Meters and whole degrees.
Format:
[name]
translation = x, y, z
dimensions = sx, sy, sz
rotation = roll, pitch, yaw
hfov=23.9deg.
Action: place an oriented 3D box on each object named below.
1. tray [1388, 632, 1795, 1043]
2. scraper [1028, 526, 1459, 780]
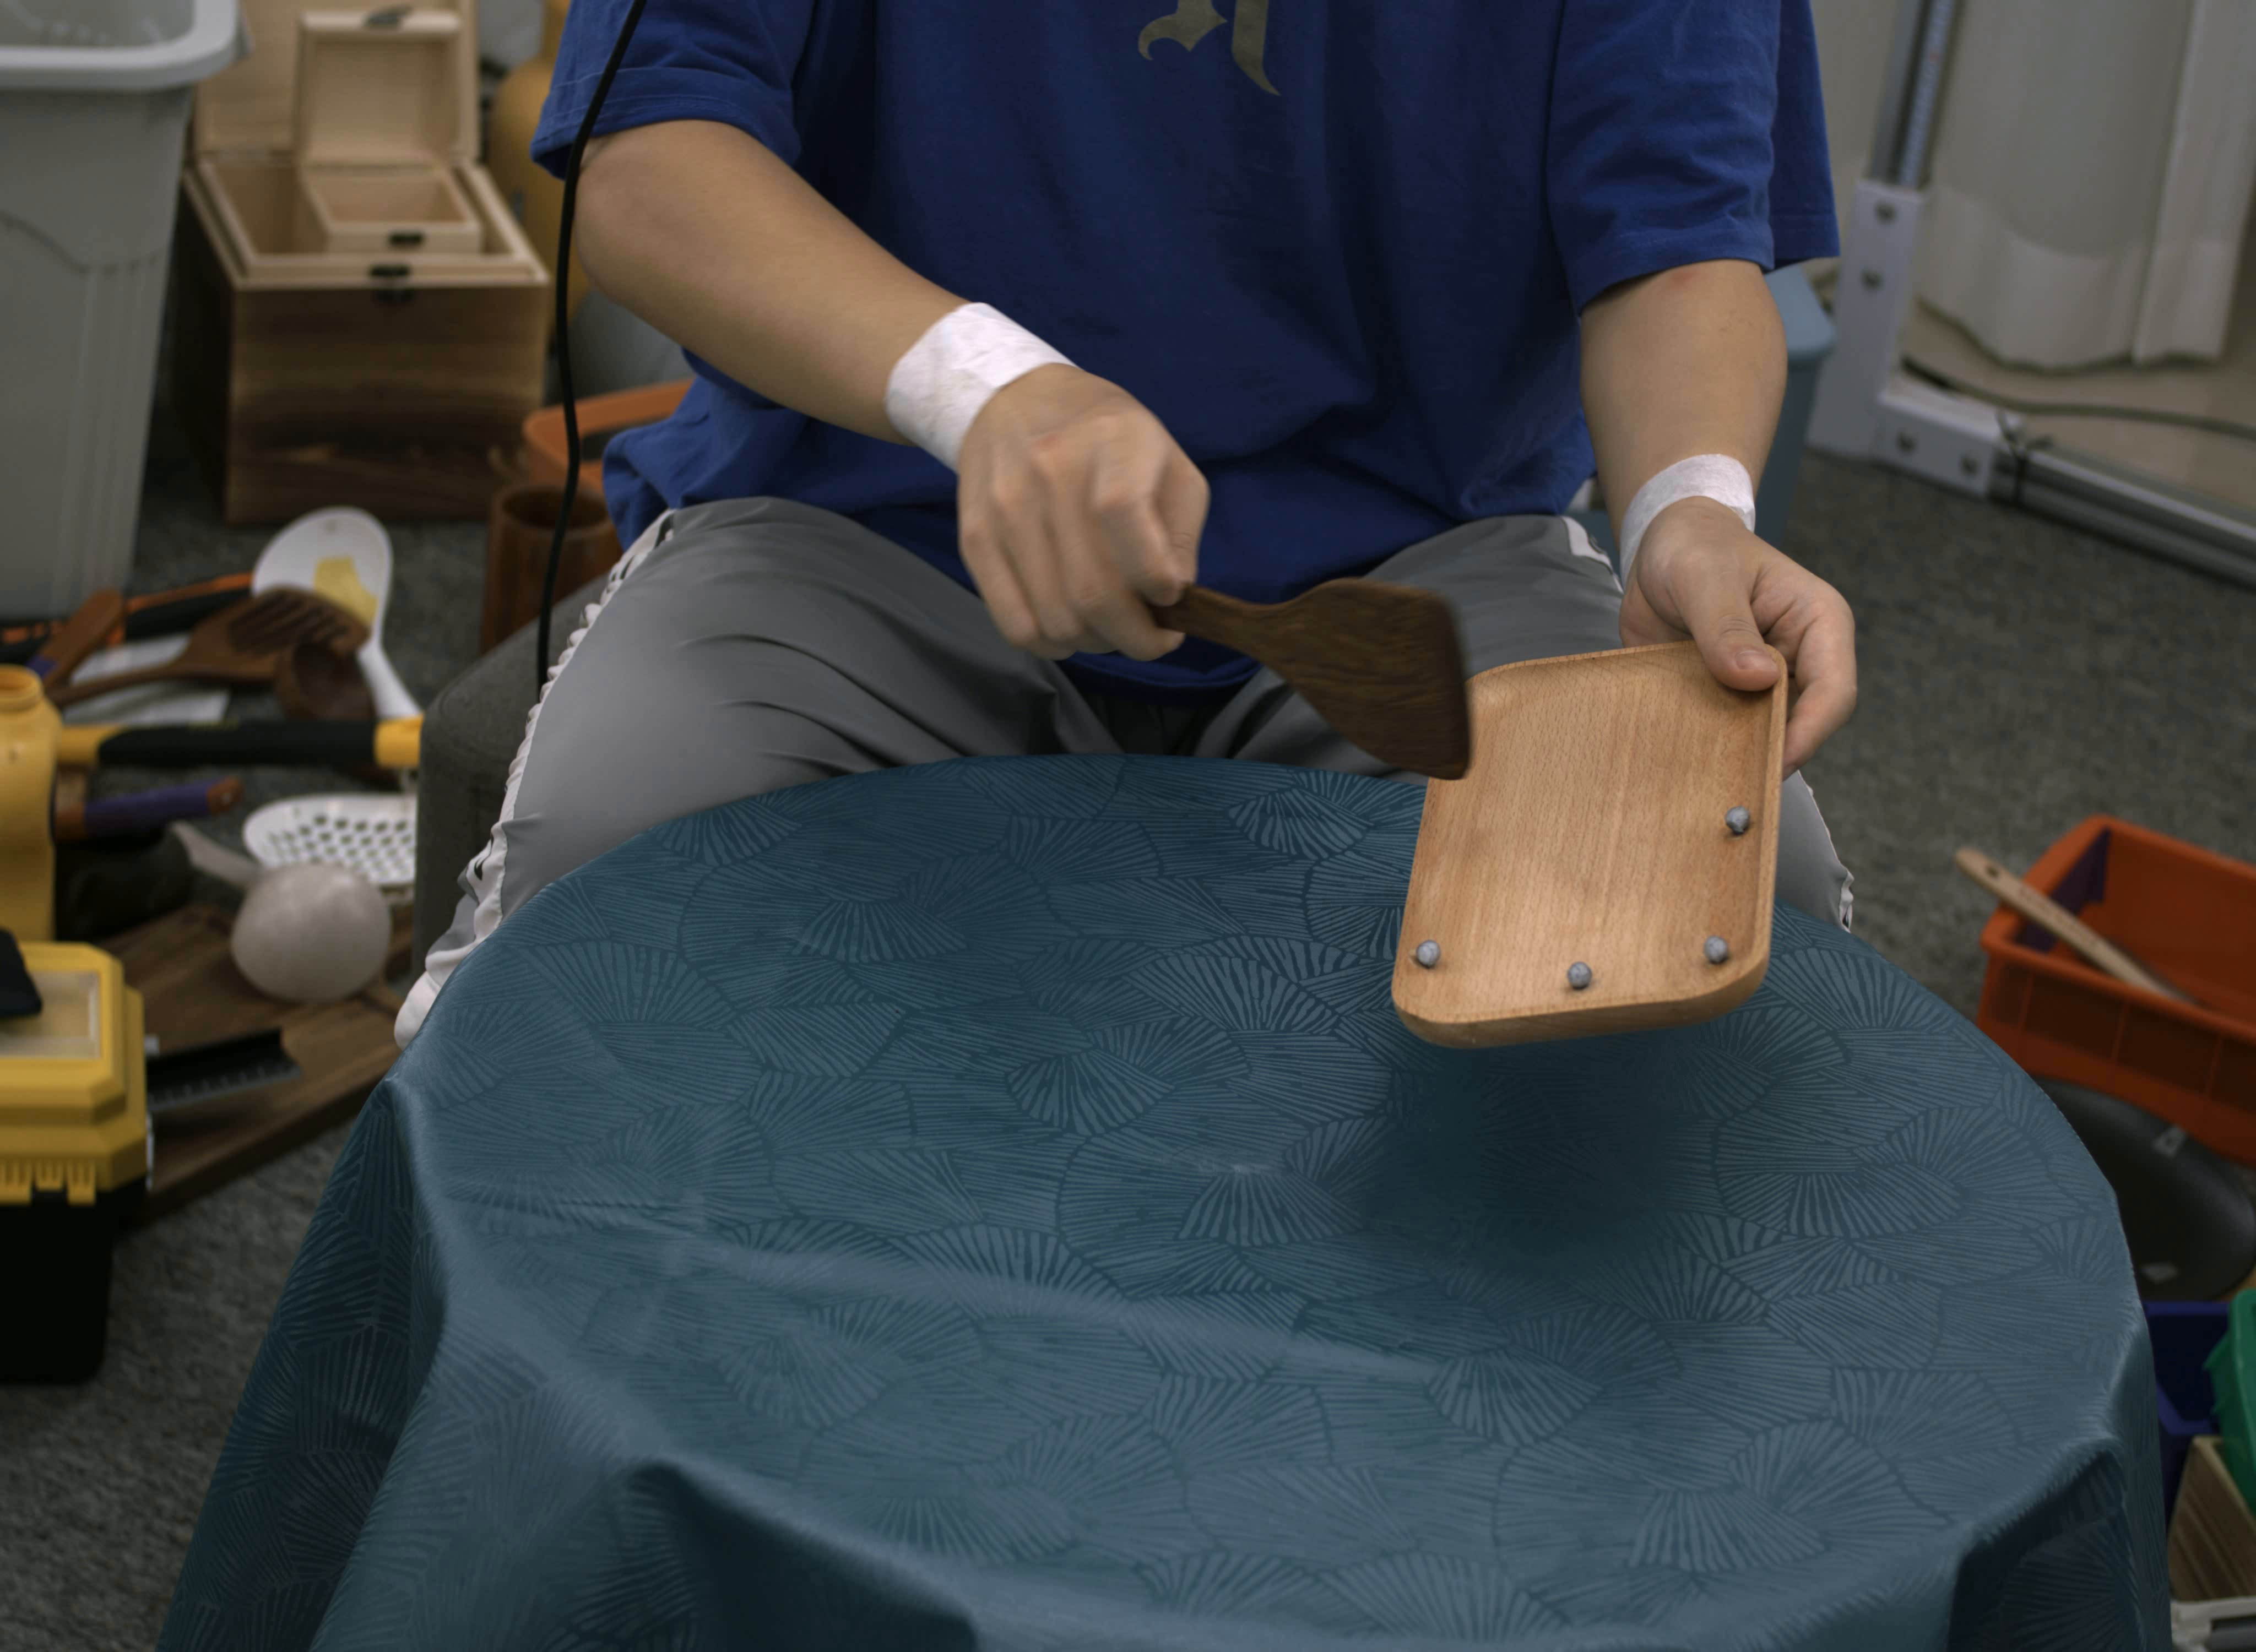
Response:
[tray]
translation = 0.164, 0.002, 1.847
dimensions = 0.130, 0.023, 0.252
rotation = -4, 28, 13
[scraper]
translation = 0.036, -0.071, 1.872
dimensions = 0.011, 0.075, 0.213
rotation = -34, 36, -30
